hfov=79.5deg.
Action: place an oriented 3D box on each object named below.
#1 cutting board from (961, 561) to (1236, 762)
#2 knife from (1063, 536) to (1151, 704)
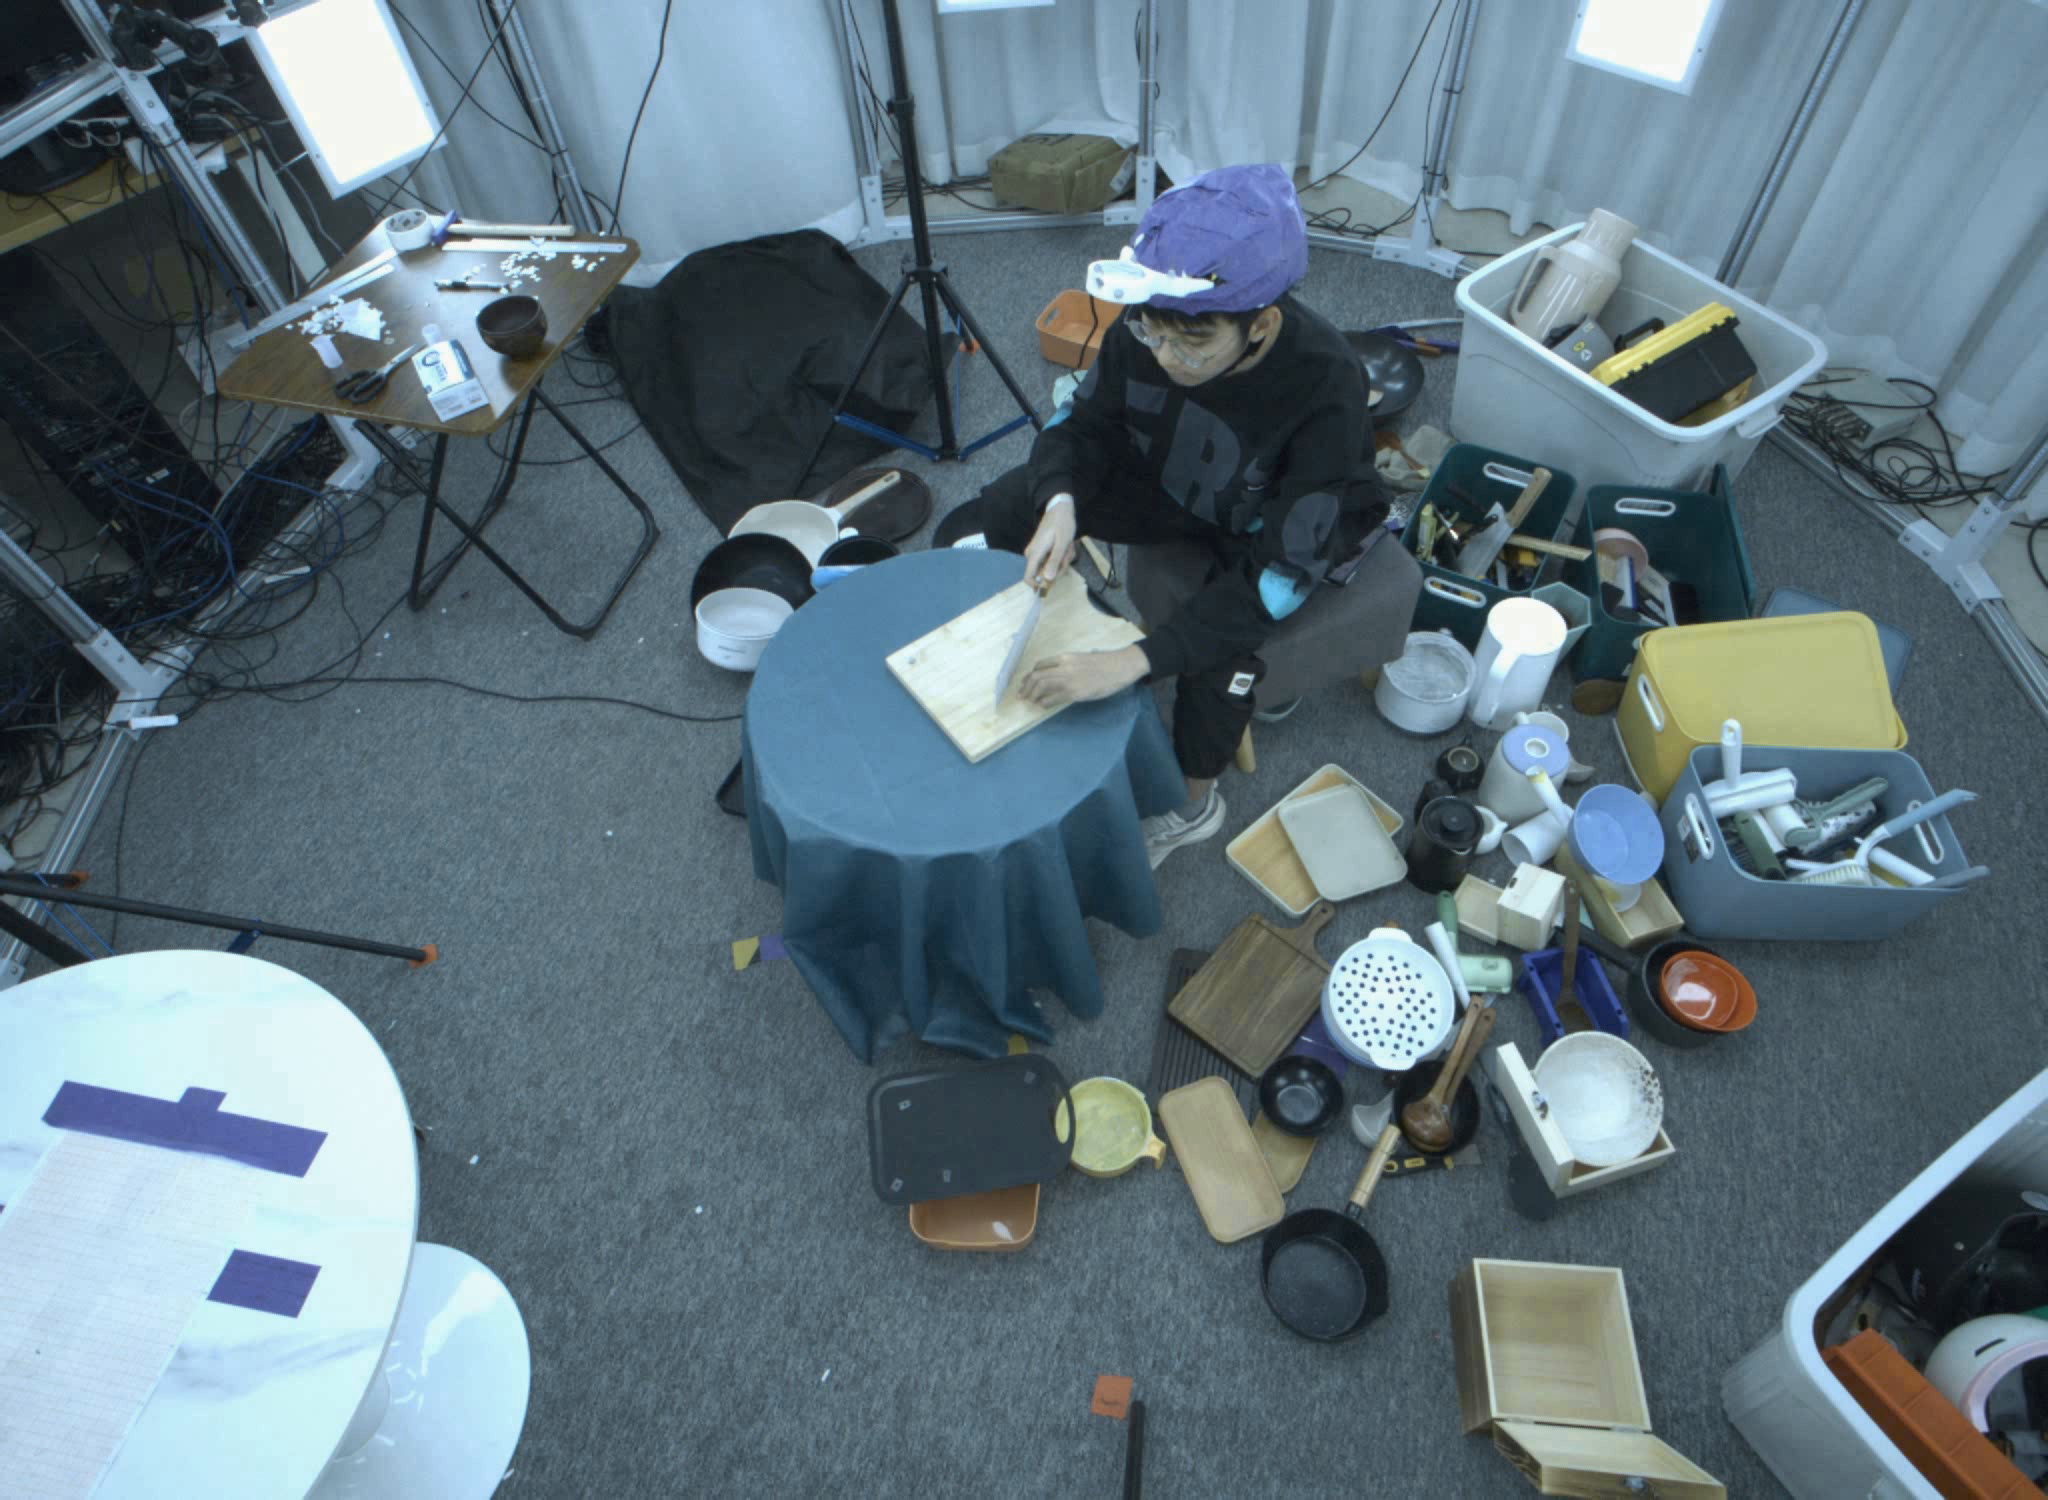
[{"bbox_3d":[0.109,-0.143,1.873,0.351,0.024,0.246,-29,58,-17],"label":"cutting board"},{"bbox_3d":[0.122,-0.192,1.834,0.021,0.093,0.306,22,59,11],"label":"knife"}]
